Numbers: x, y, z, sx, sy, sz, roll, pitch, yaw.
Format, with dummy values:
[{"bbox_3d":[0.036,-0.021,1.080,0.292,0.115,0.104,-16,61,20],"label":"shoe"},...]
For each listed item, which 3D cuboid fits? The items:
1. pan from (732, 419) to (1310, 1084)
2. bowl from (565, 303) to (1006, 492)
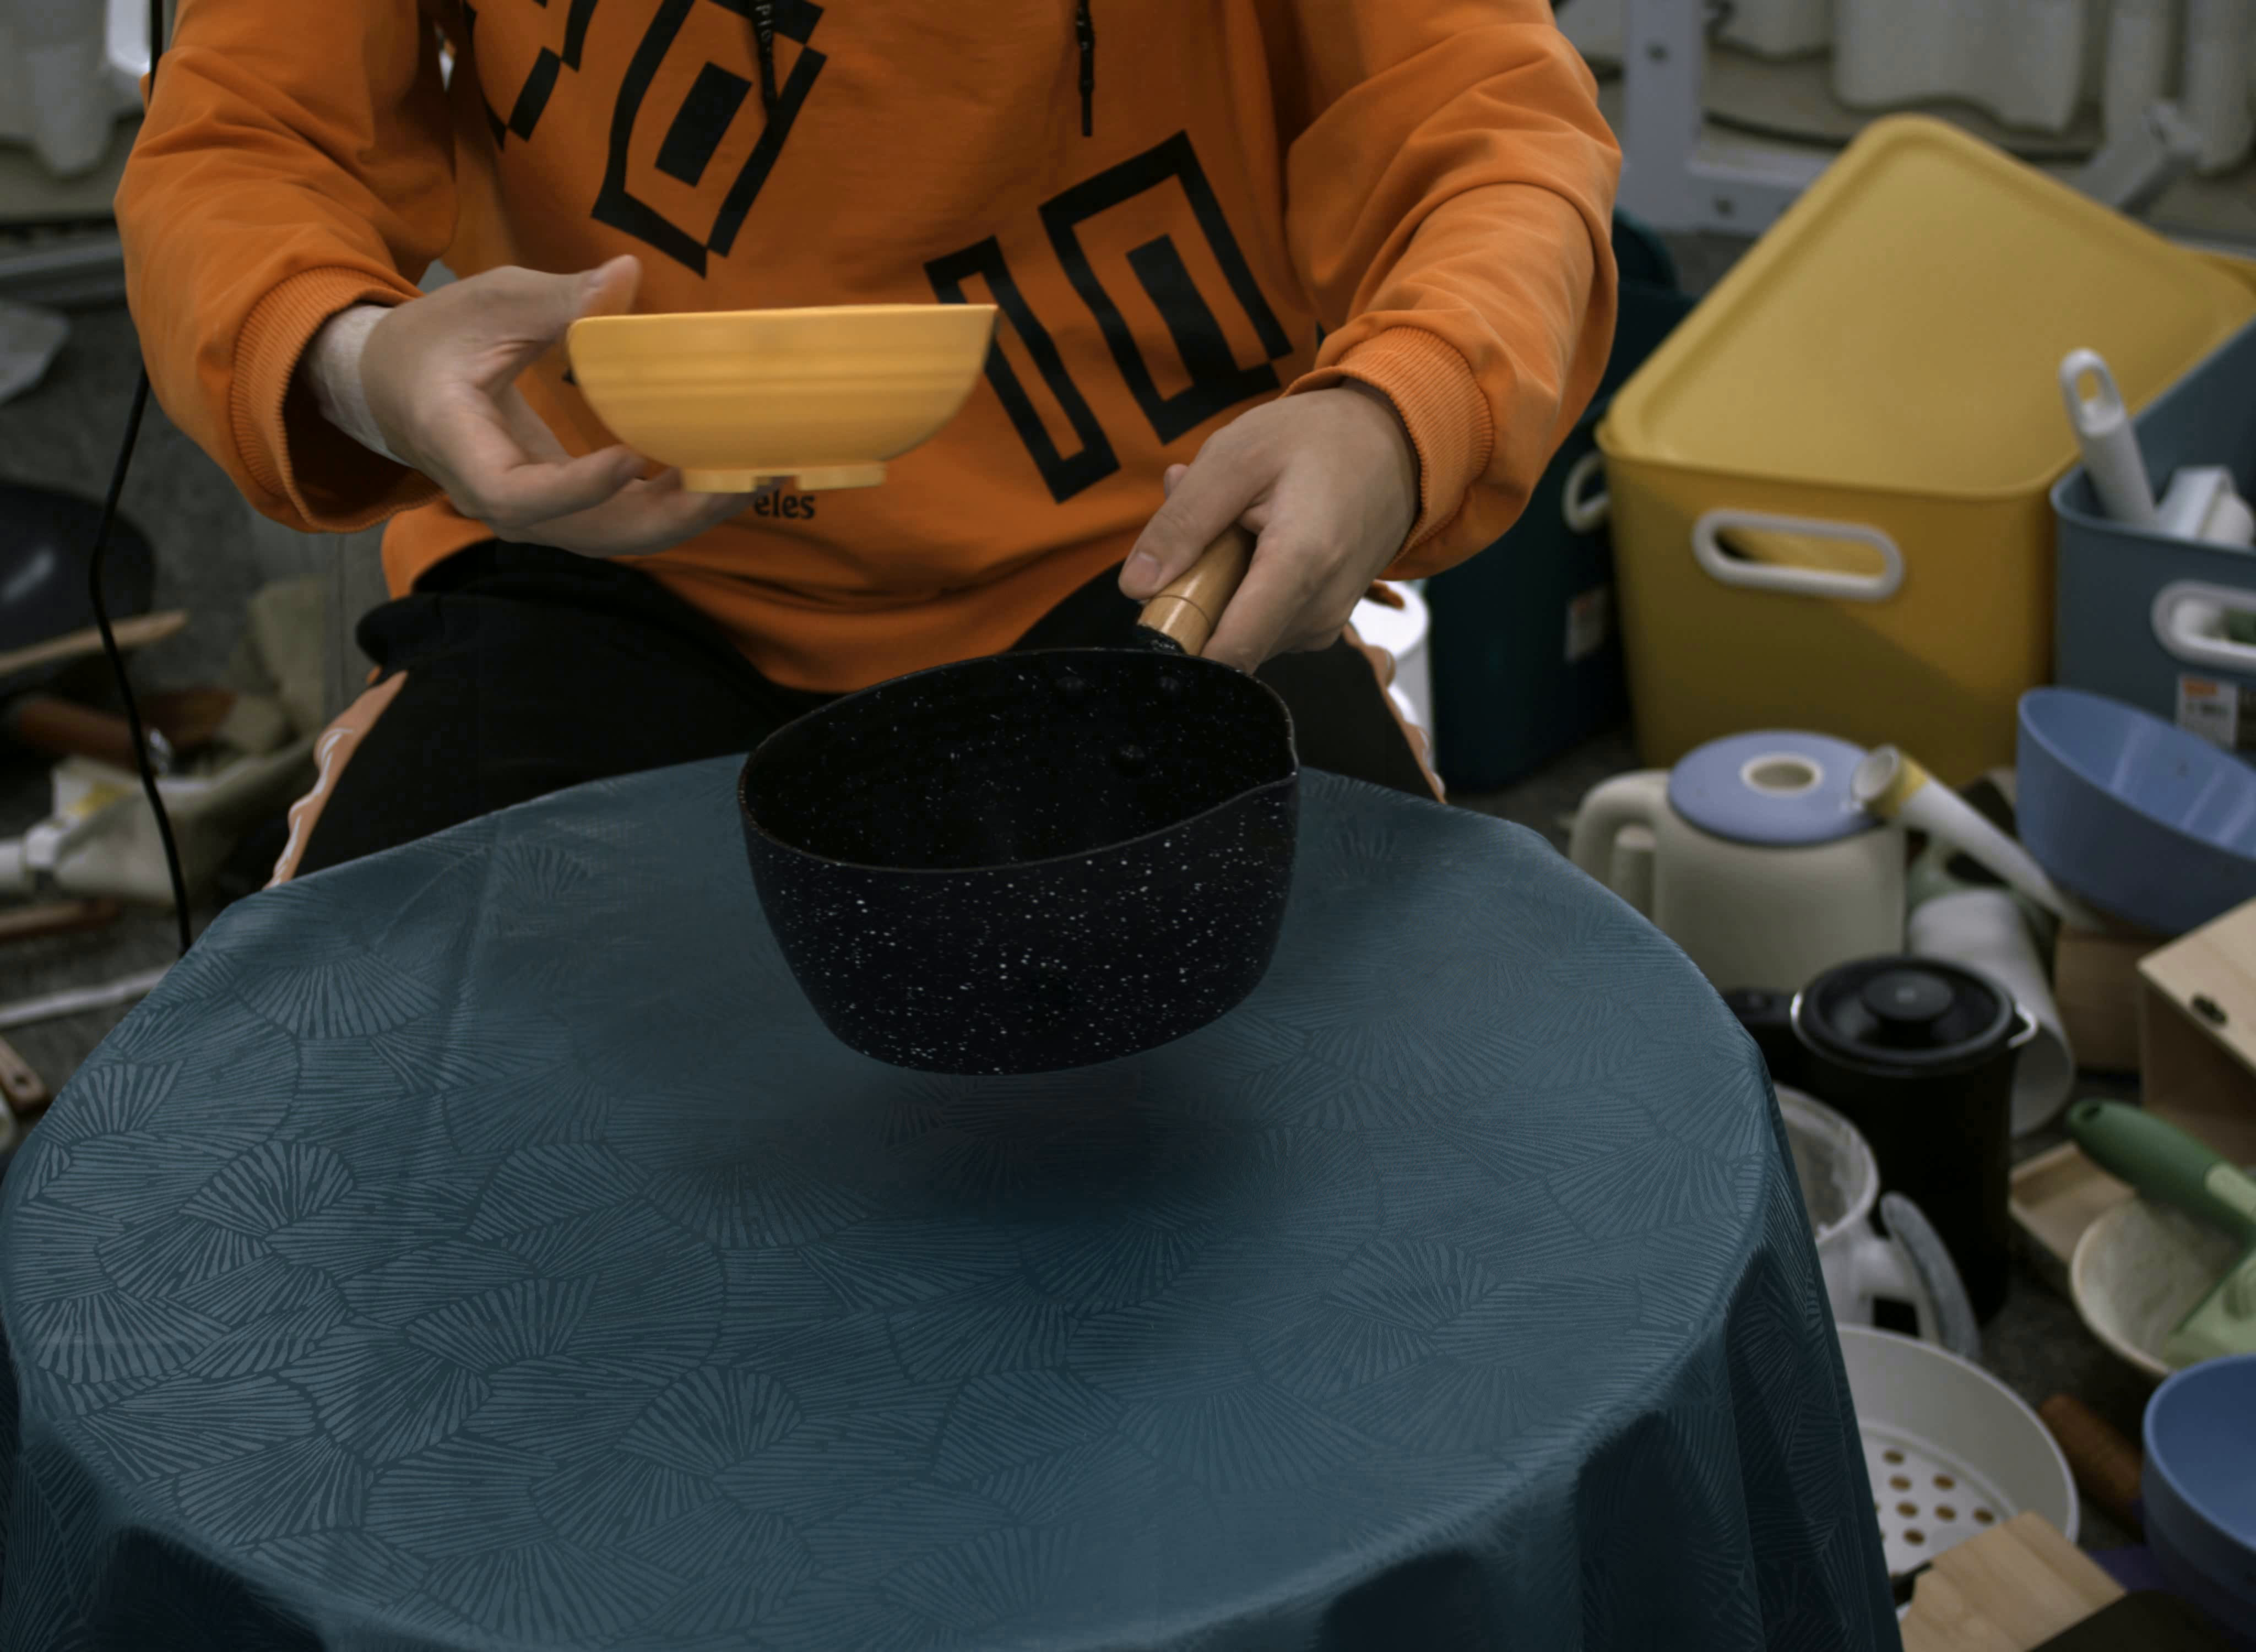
[{"bbox_3d":[-0.006,-0.029,1.925,0.205,0.107,0.348,1,25,23],"label":"pan"},{"bbox_3d":[-0.112,-0.140,1.848,0.144,0.060,0.145,0,3,0],"label":"bowl"}]
